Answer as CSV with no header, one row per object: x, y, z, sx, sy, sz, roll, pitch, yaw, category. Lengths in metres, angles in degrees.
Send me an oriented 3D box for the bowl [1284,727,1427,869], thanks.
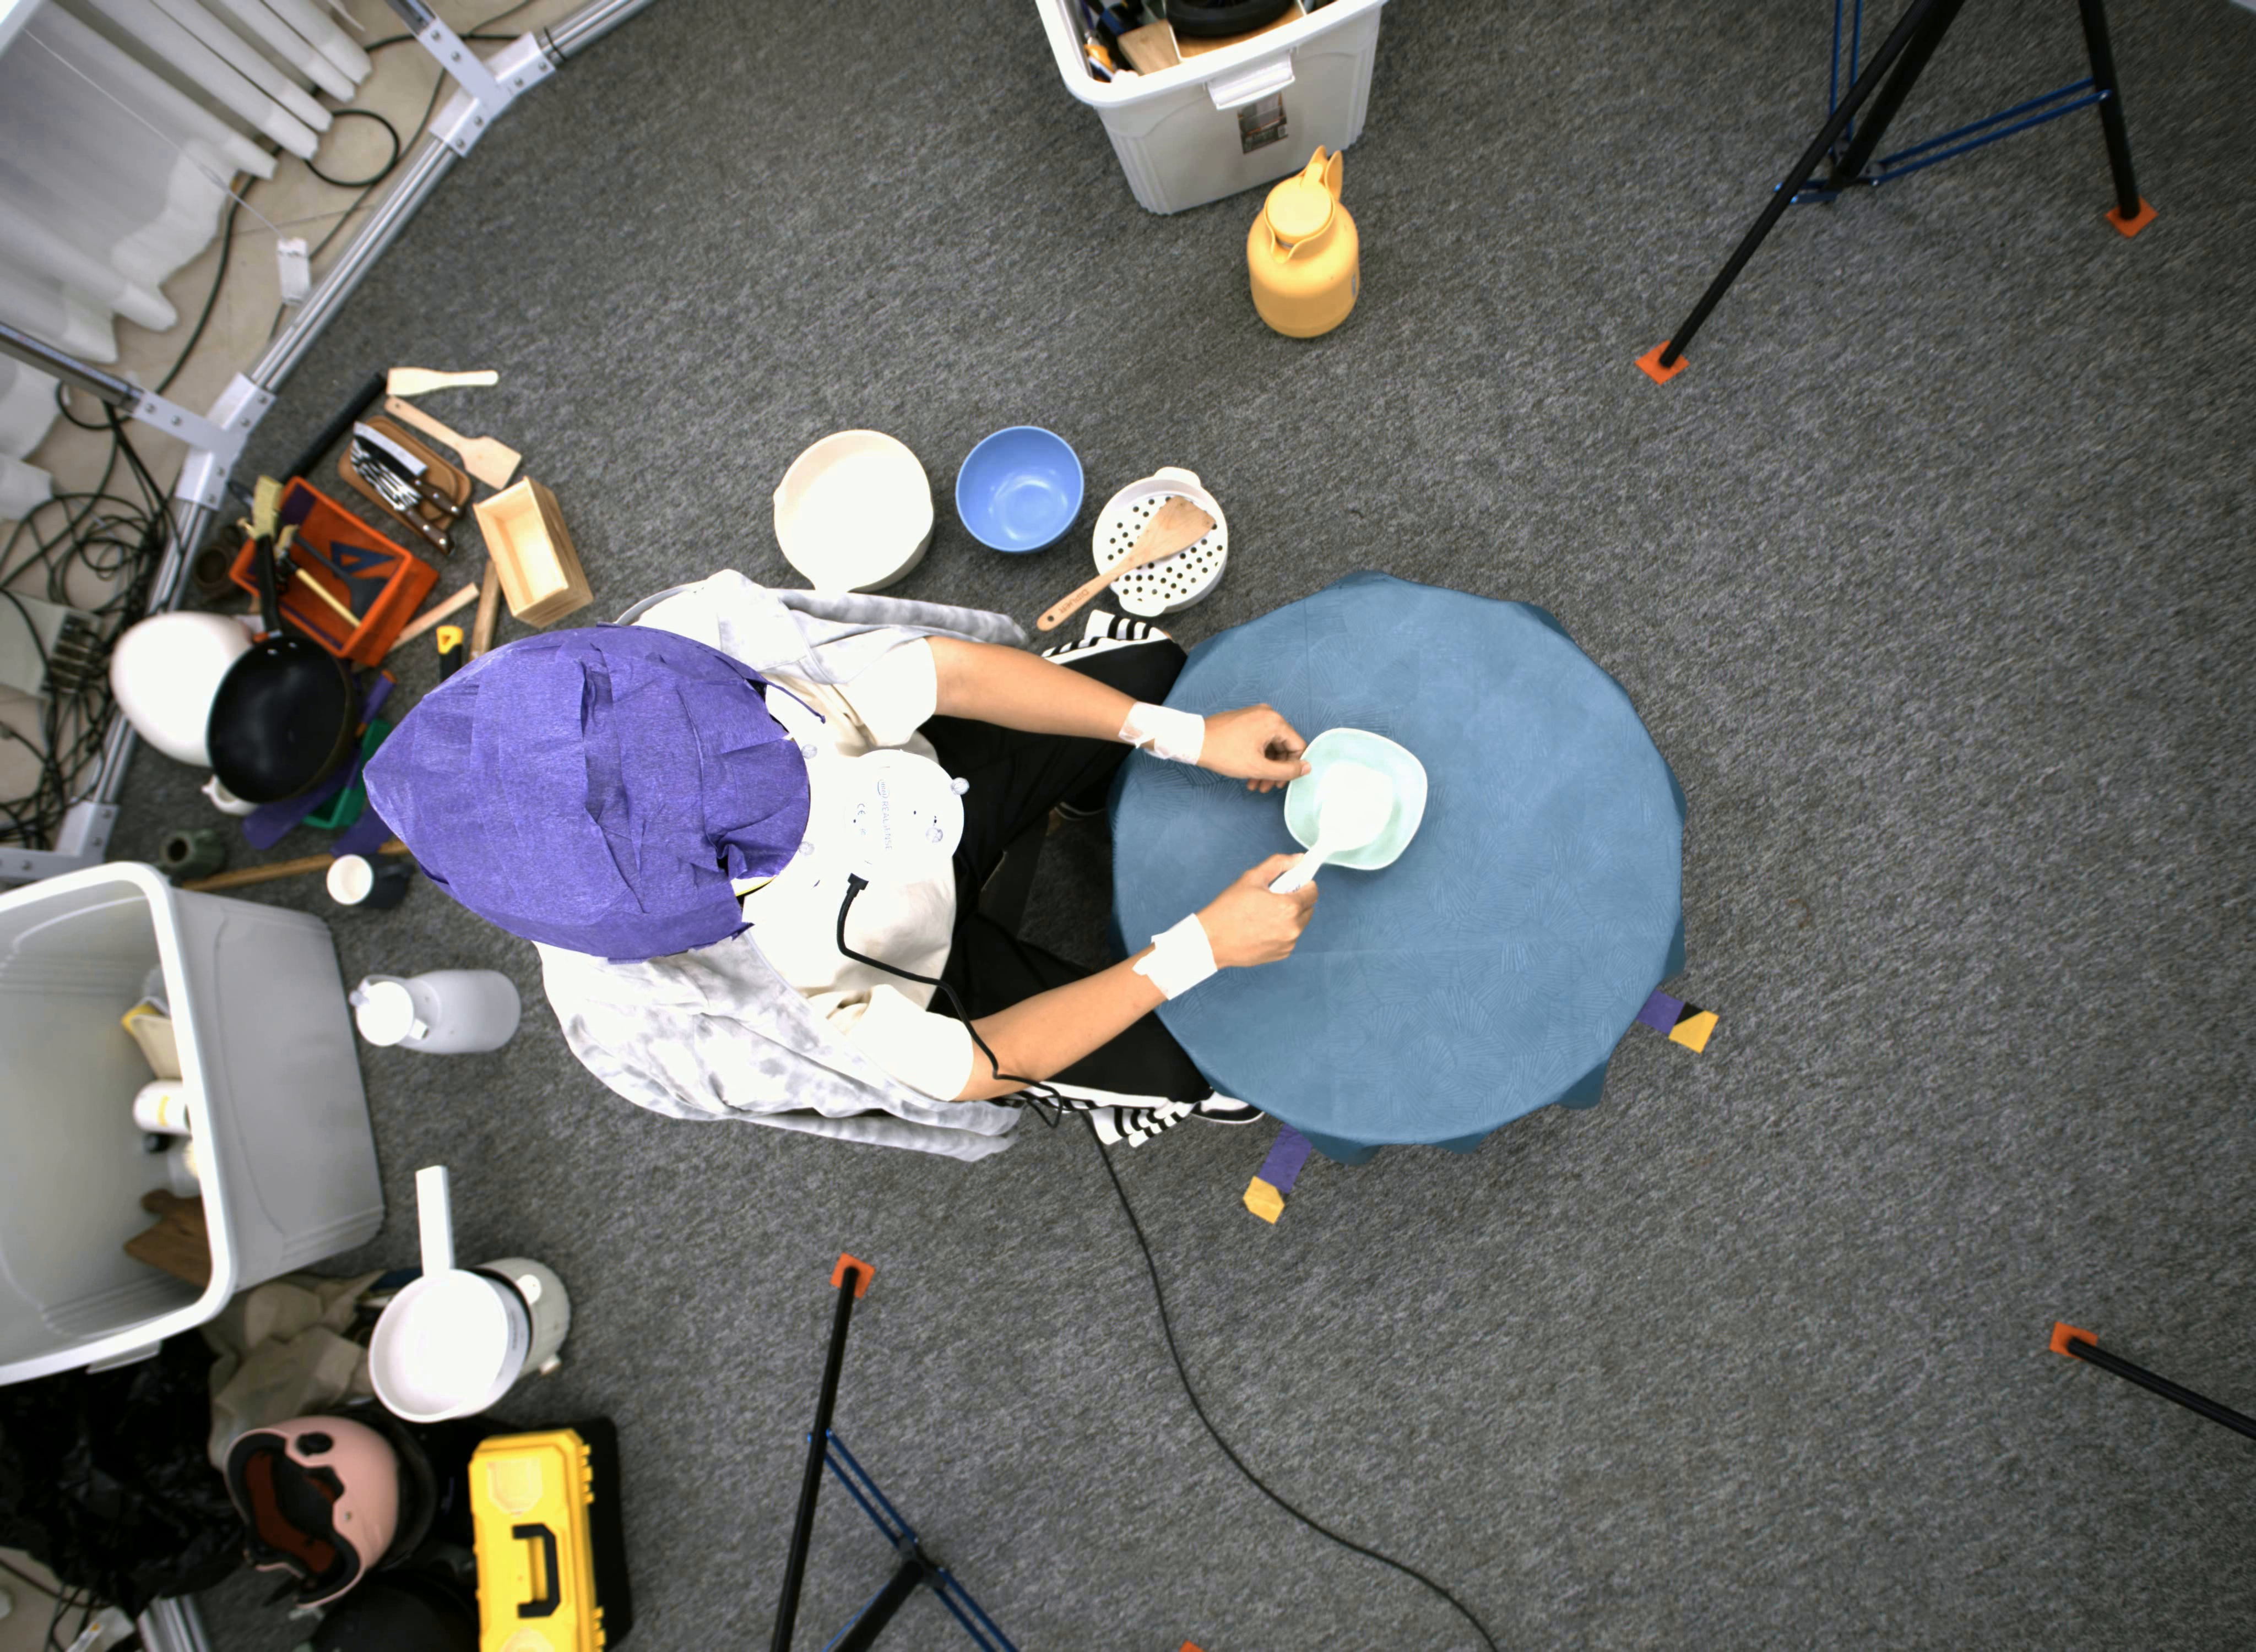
0.234,-0.029,1.437,0.152,0.058,0.151,0,91,4,bowl

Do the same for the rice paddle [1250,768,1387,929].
0.194,0.018,1.382,0.069,0.030,0.202,46,70,-11,rice paddle
